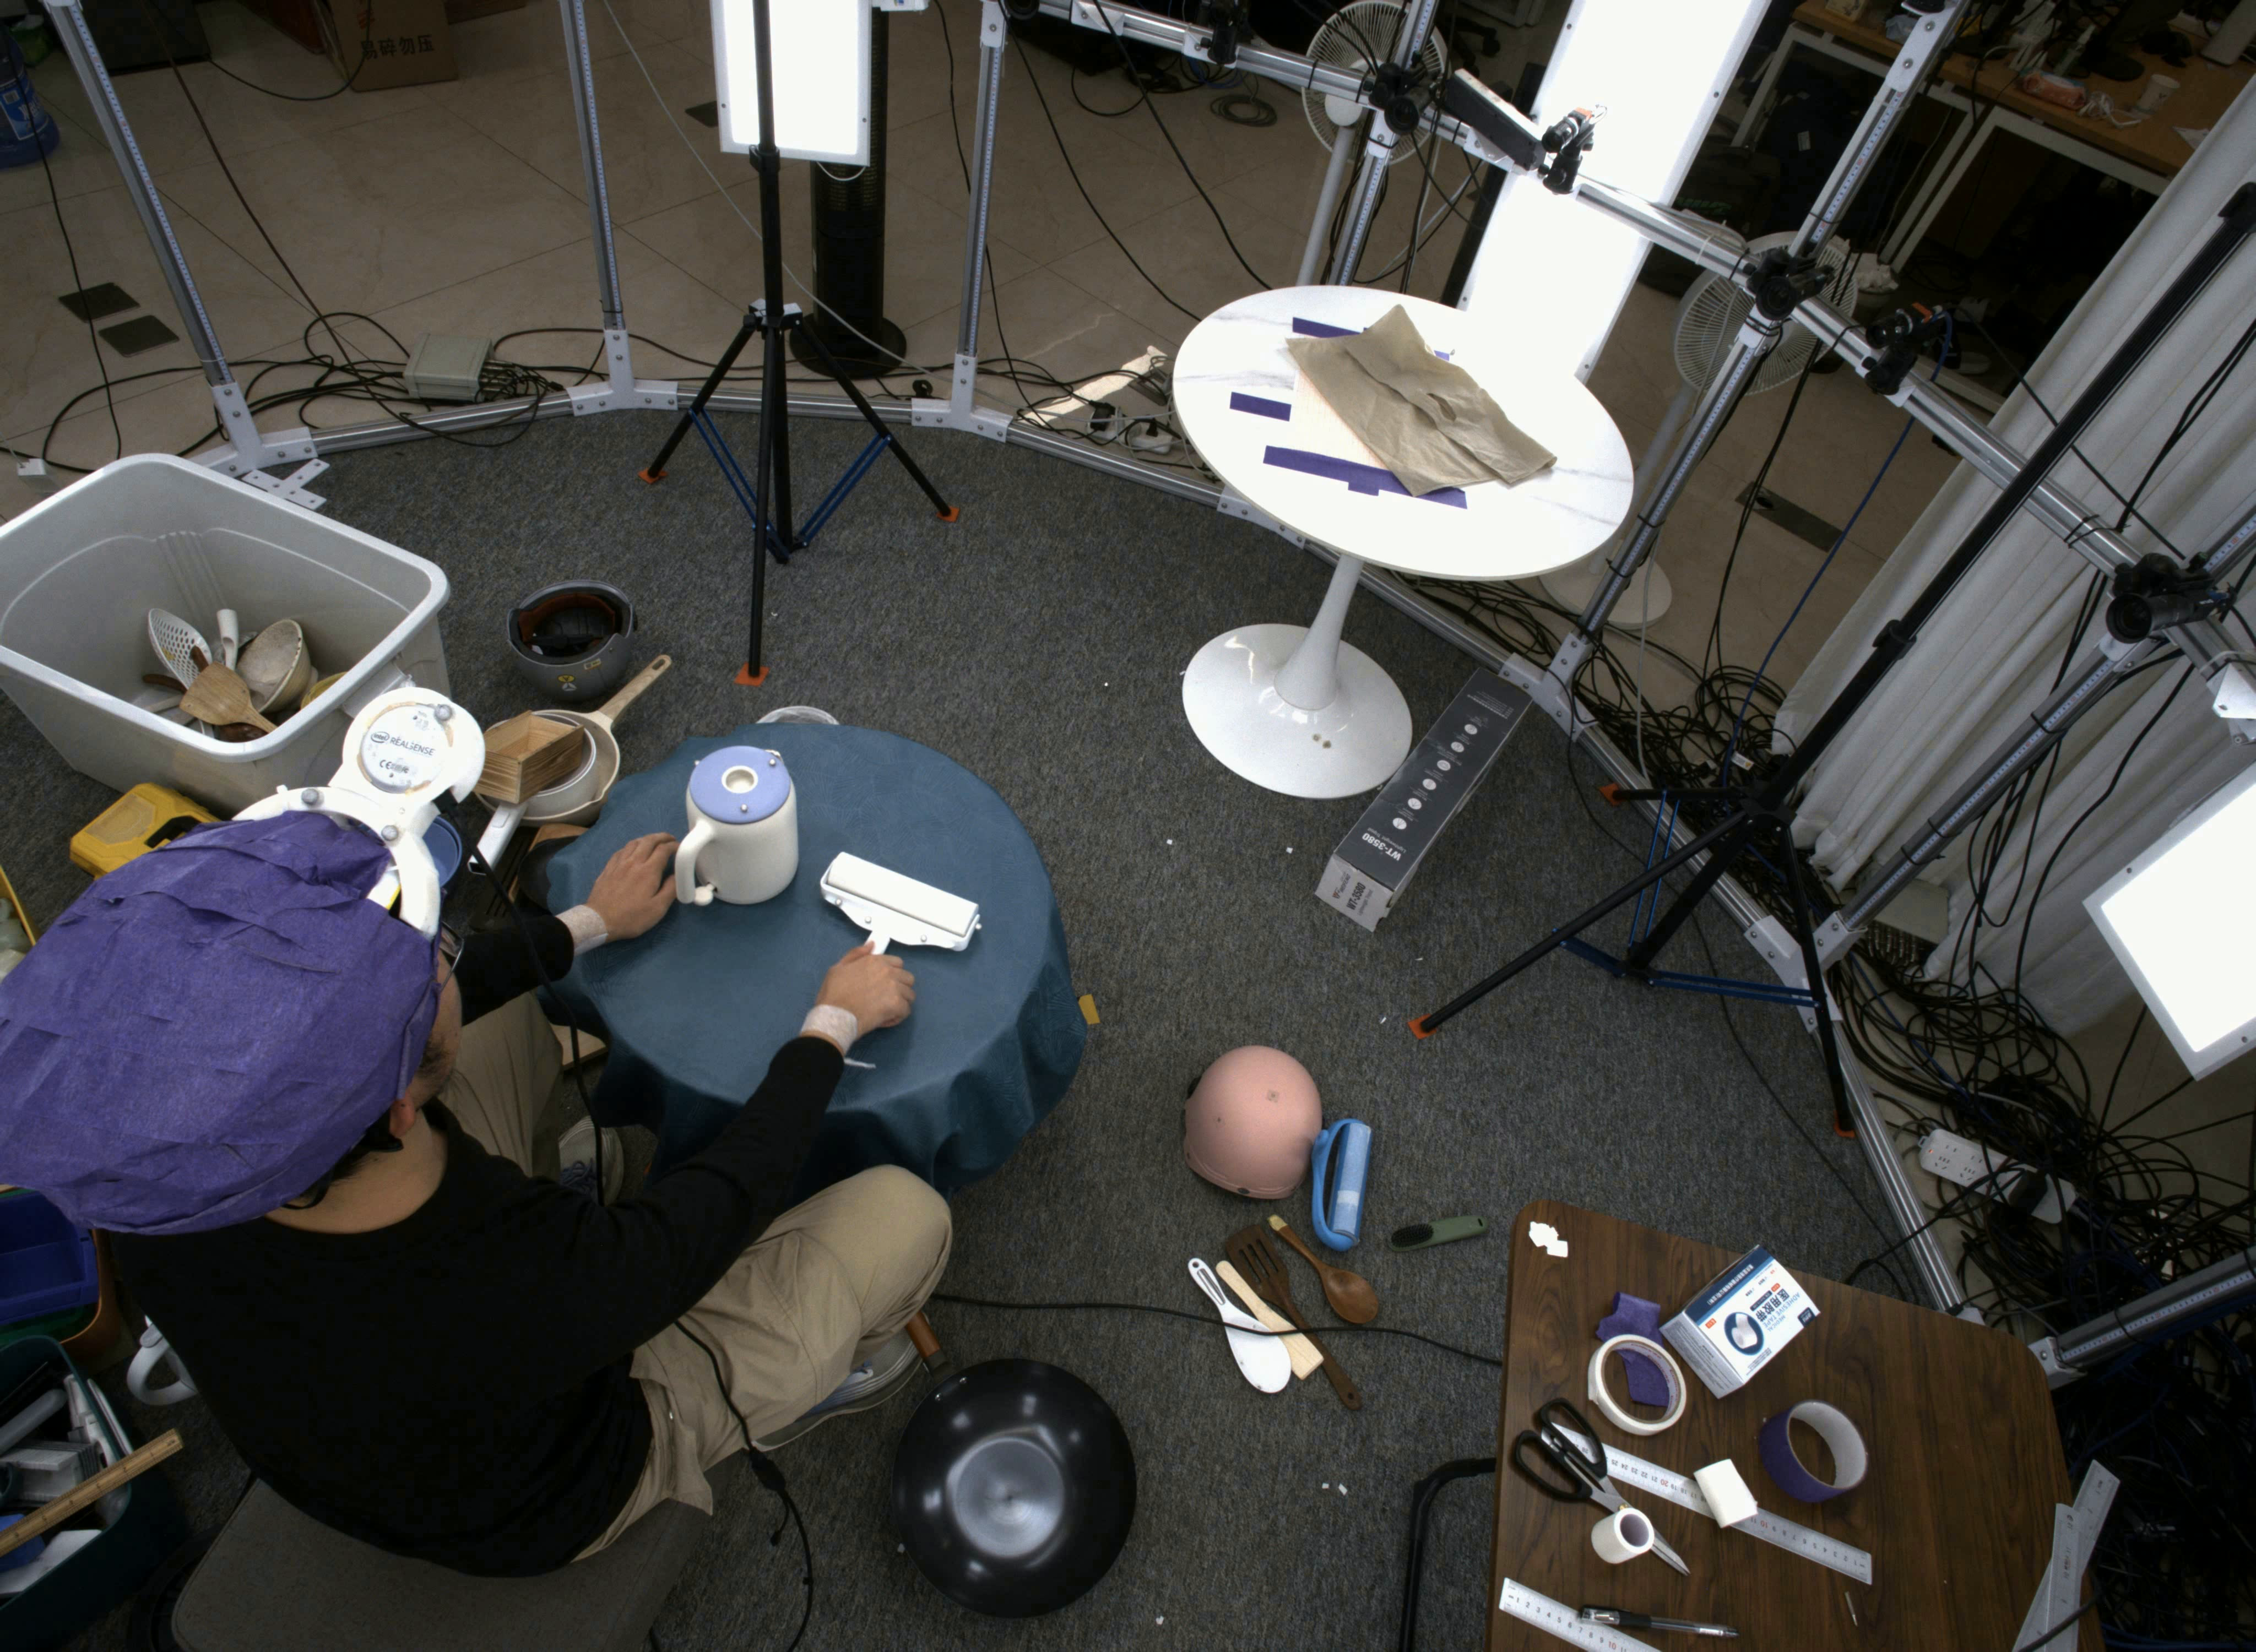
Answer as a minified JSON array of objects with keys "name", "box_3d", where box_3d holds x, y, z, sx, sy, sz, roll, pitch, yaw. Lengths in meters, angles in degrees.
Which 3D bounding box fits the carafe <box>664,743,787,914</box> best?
[{"name":"carafe","box_3d":[-0.502,0.015,1.575,0.130,0.186,0.190,26,54,9]}]

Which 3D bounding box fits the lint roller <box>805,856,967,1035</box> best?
[{"name":"lint roller","box_3d":[-0.328,0.154,1.601,0.201,0.049,0.223,21,52,0]}]
